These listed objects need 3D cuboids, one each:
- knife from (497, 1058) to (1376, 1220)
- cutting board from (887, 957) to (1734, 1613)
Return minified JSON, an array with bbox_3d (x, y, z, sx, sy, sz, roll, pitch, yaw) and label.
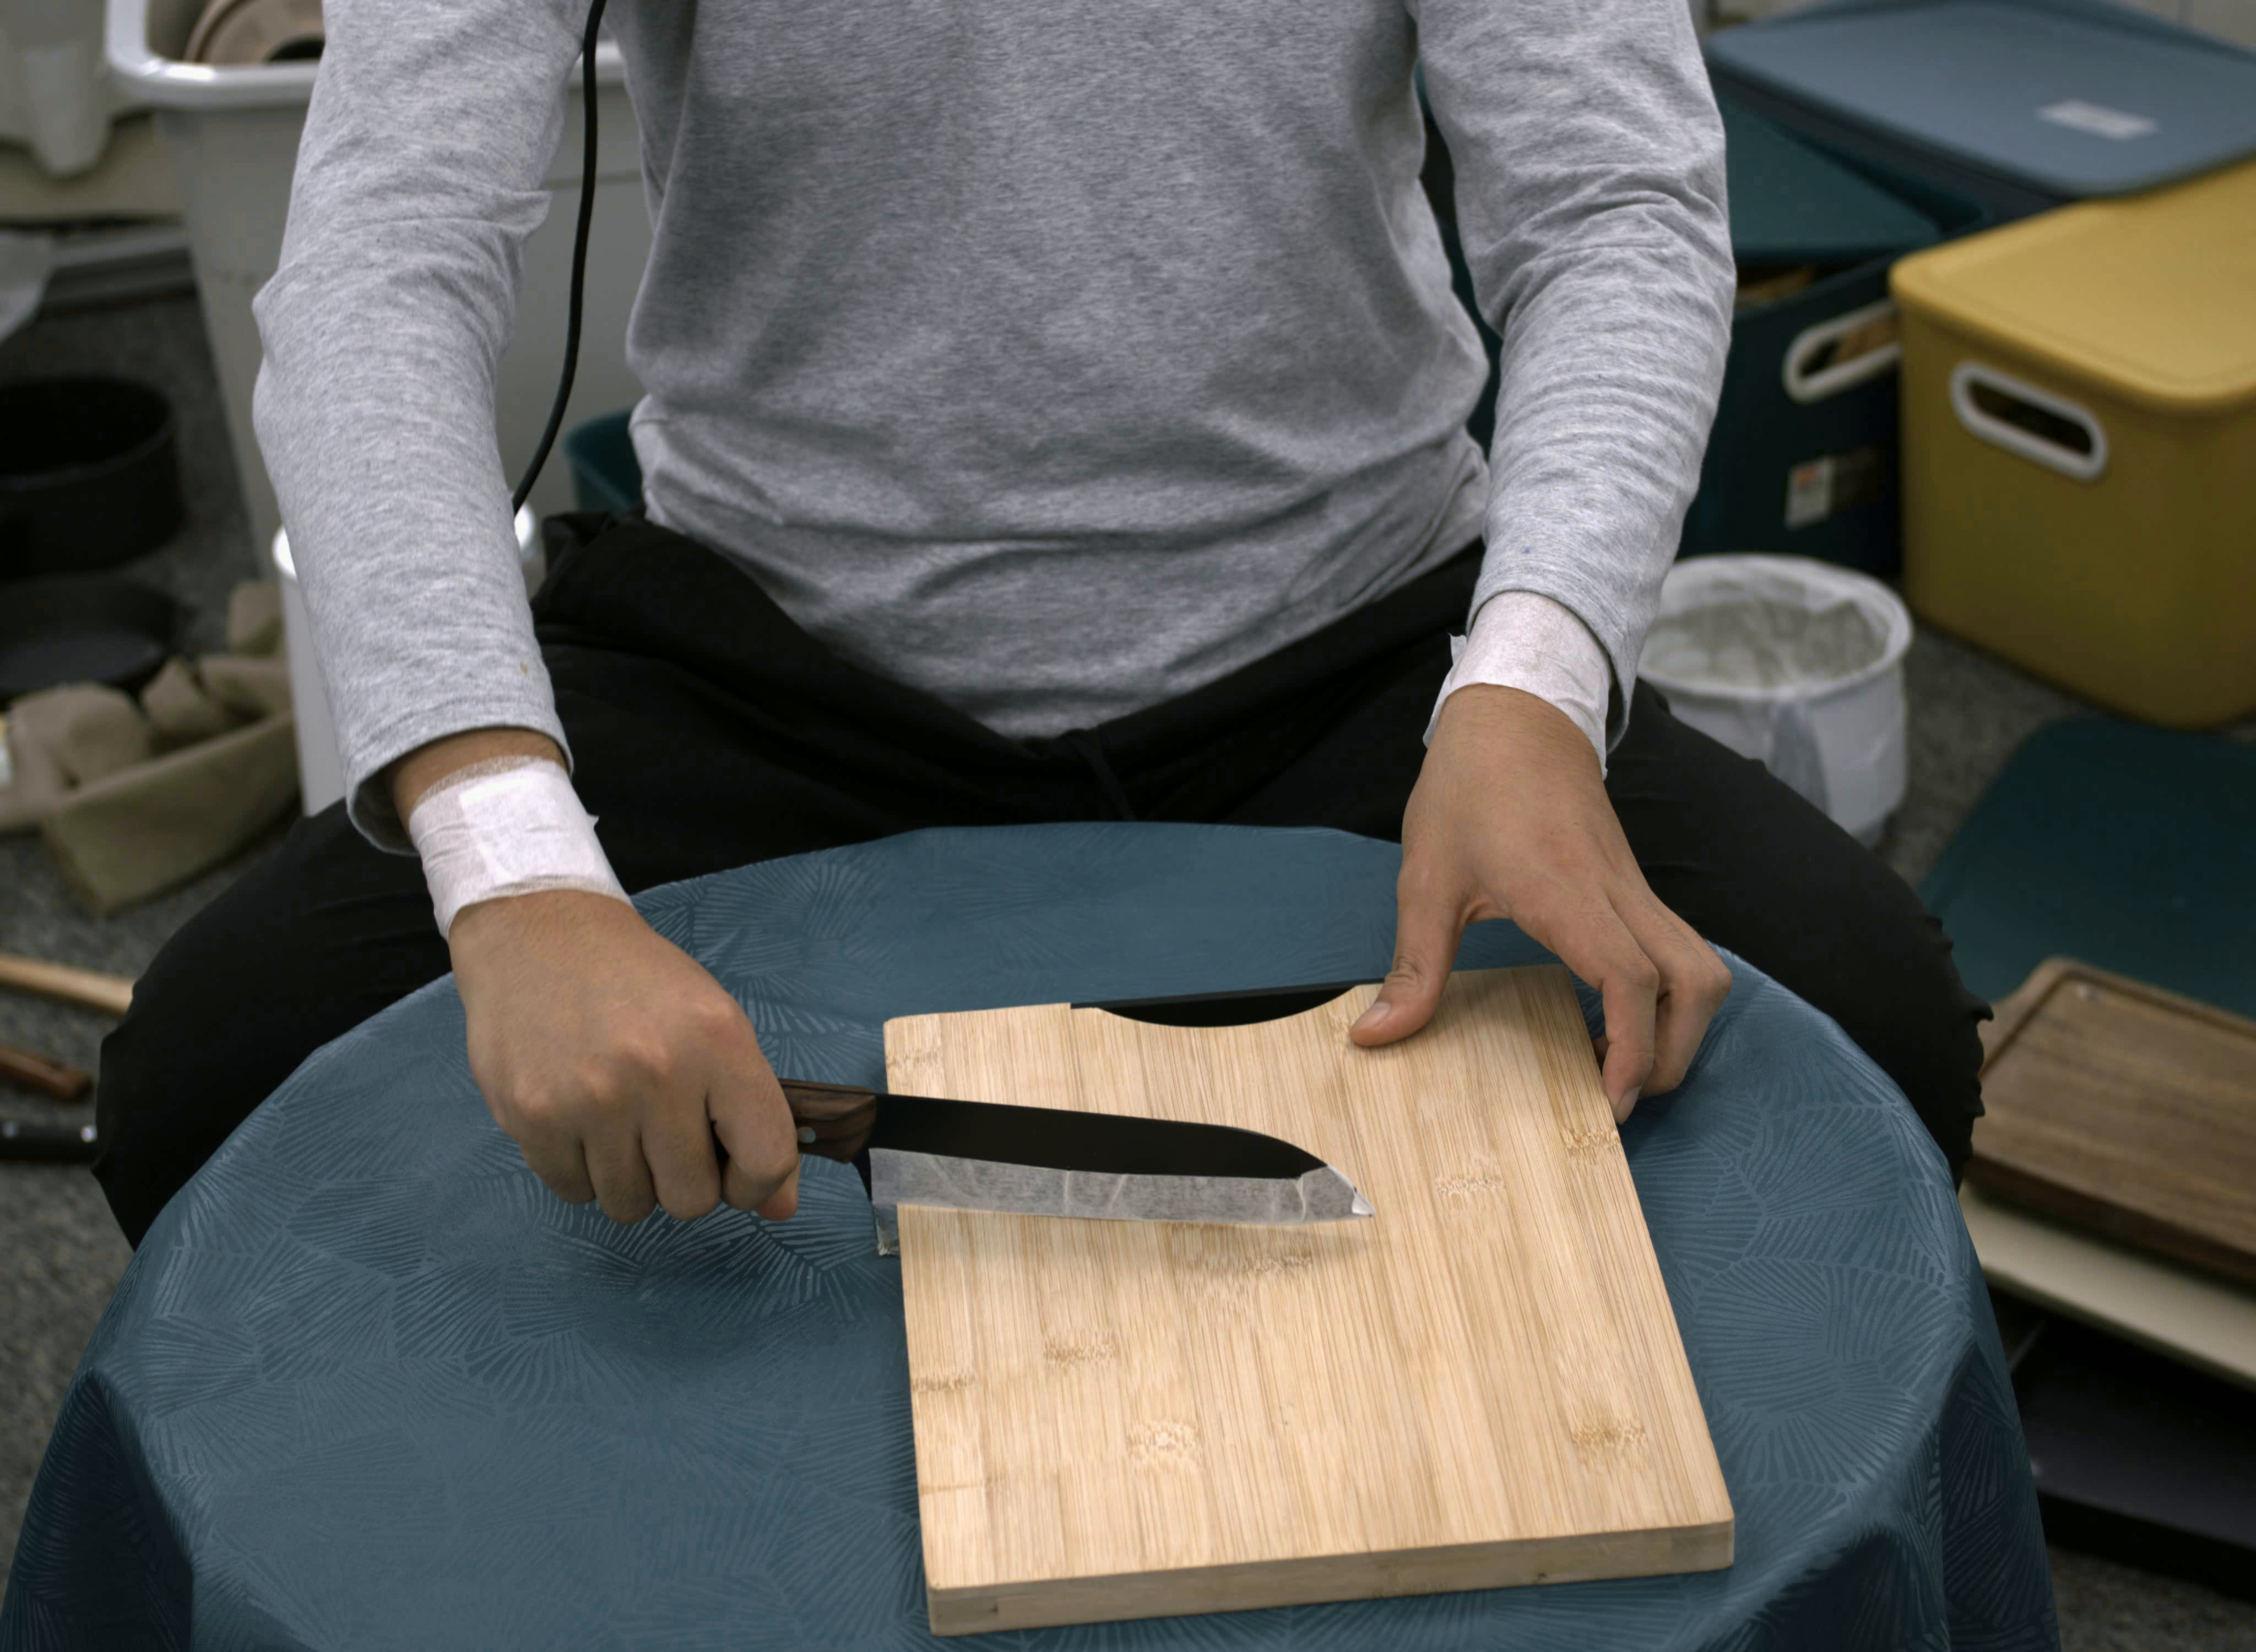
[{"bbox_3d":[-0.062,0.103,1.810,0.287,0.049,0.020,7,38,7],"label":"knife"},{"bbox_3d":[0.047,0.141,1.802,0.250,0.023,0.353,-4,27,-4],"label":"cutting board"}]
